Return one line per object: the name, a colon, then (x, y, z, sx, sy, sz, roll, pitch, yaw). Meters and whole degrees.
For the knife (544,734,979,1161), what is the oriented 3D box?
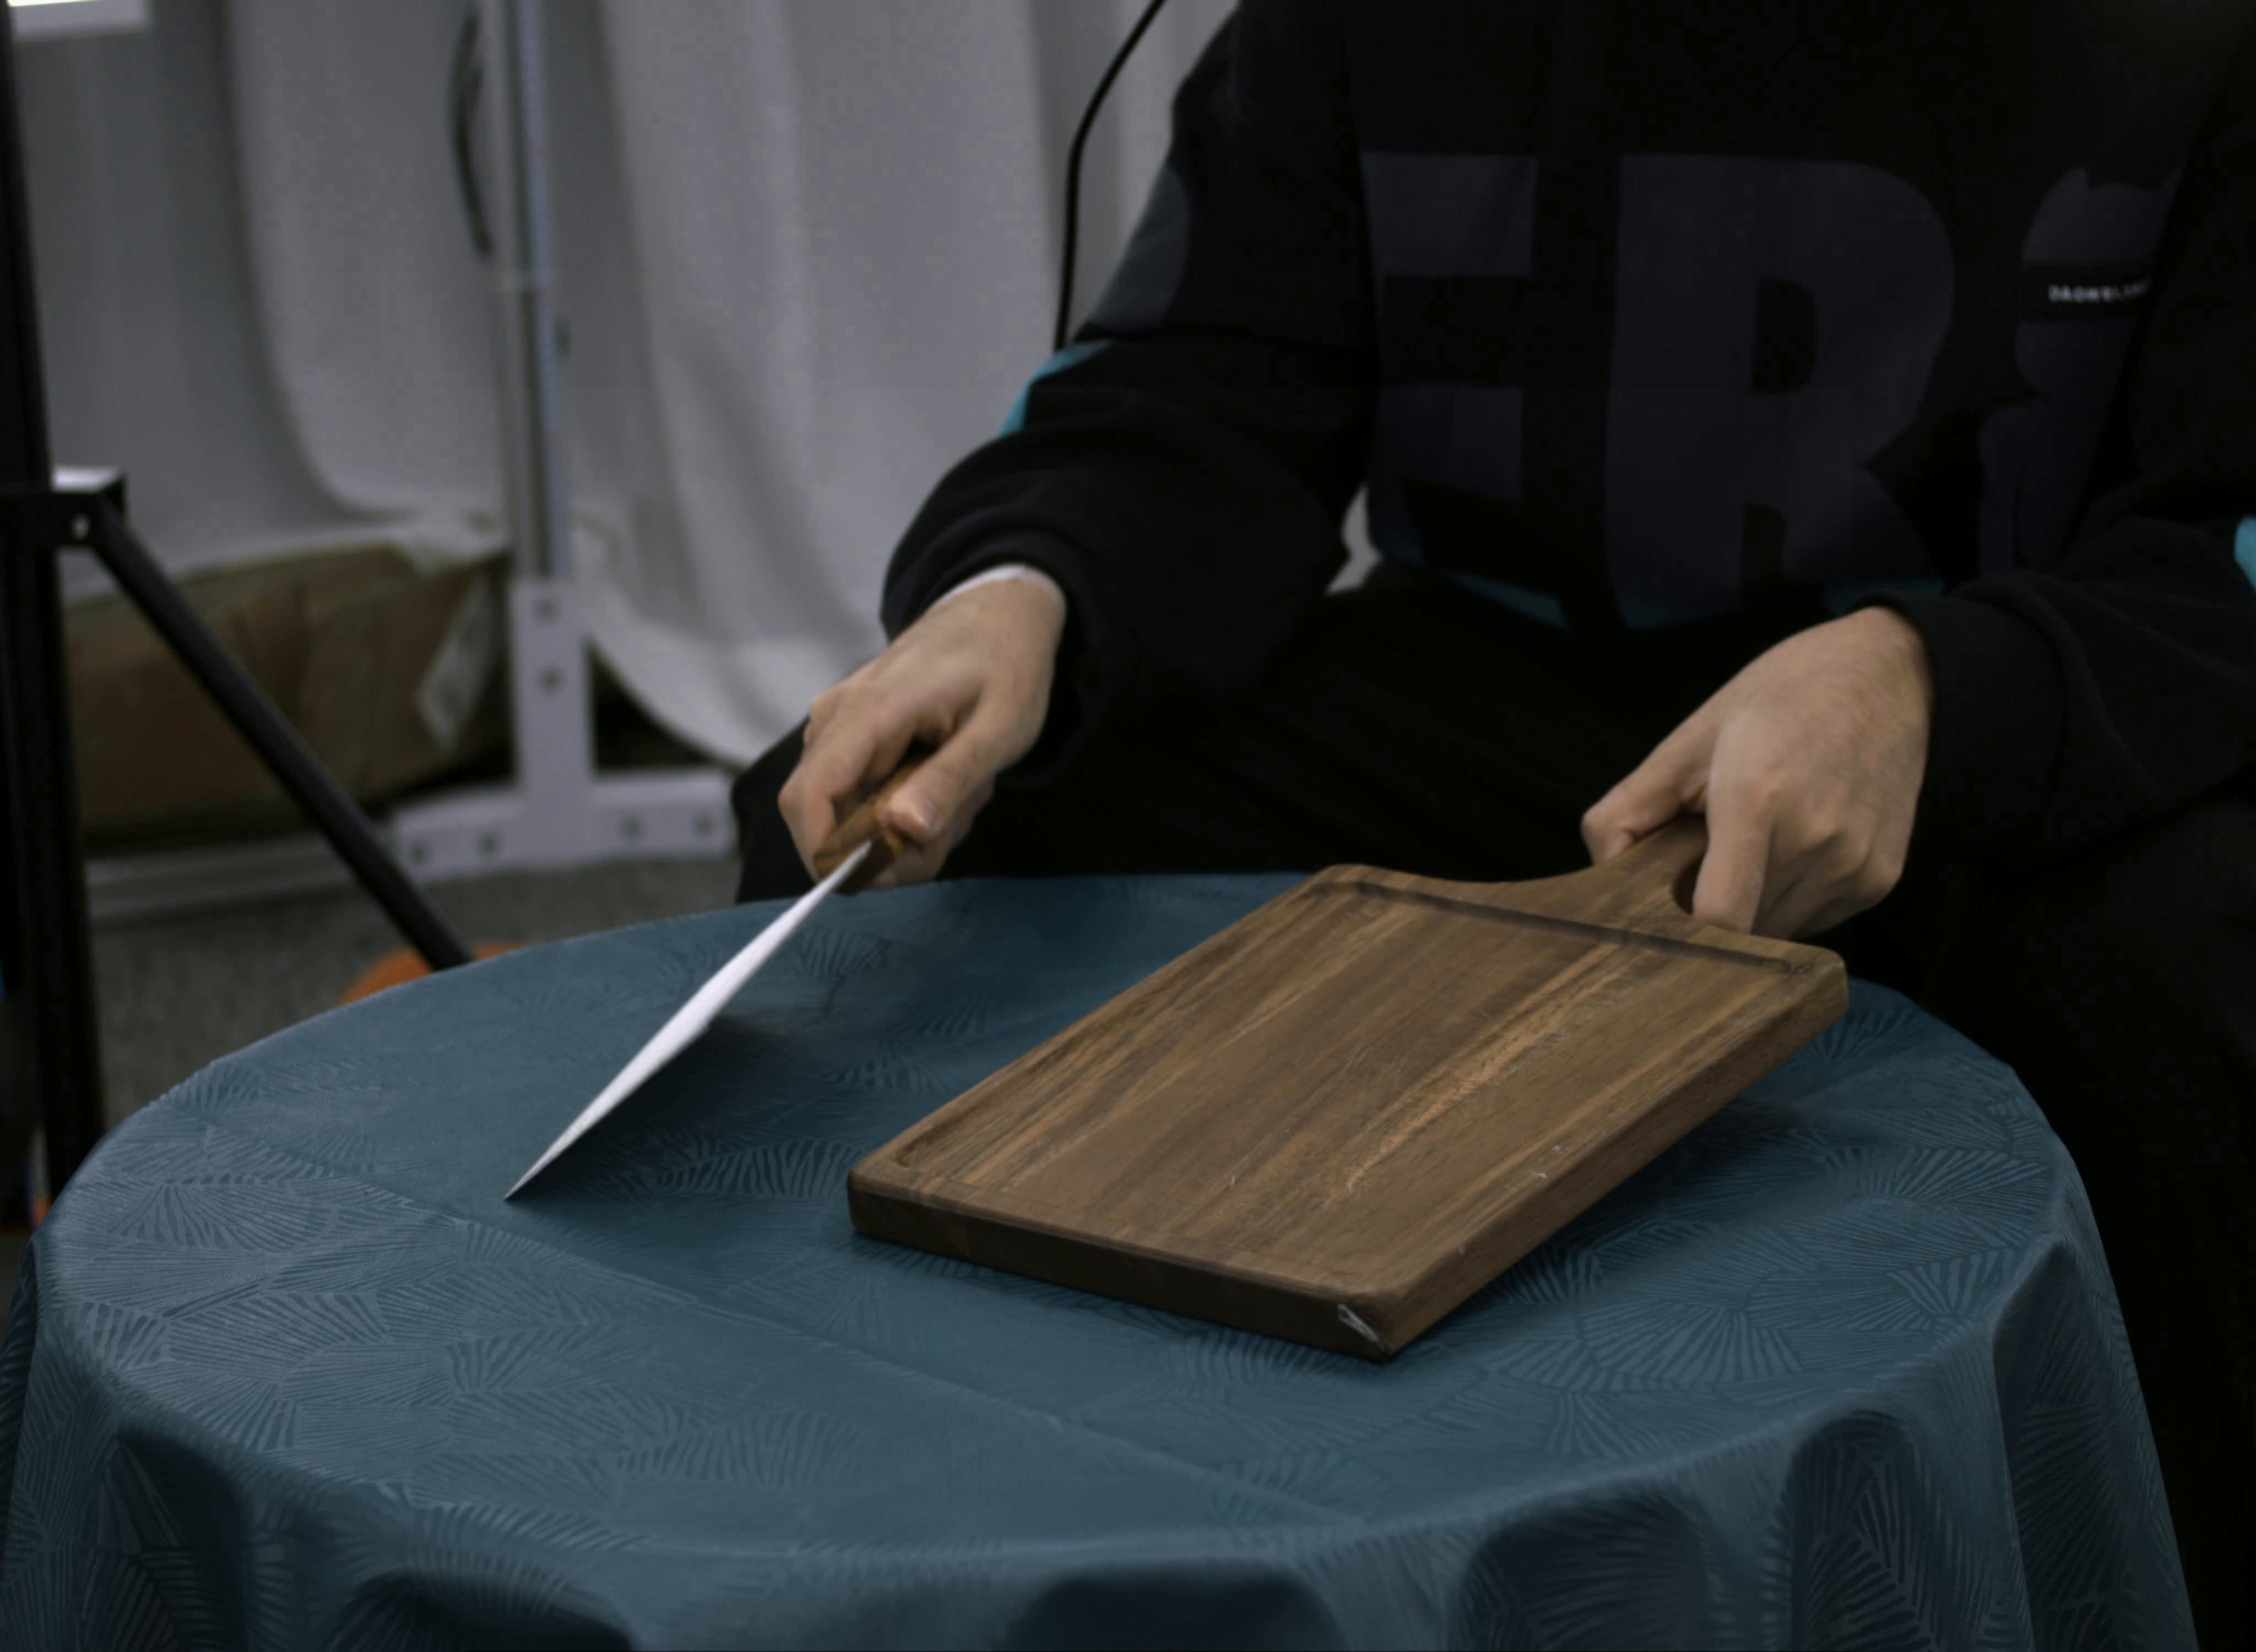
knife: (-0.117, 0.039, 1.699, 0.094, 0.021, 0.303, -39, 5, 22)

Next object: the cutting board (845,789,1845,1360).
cutting board: (0.096, 0.061, 1.591, 0.205, 0.023, 0.346, 9, 27, 37)
